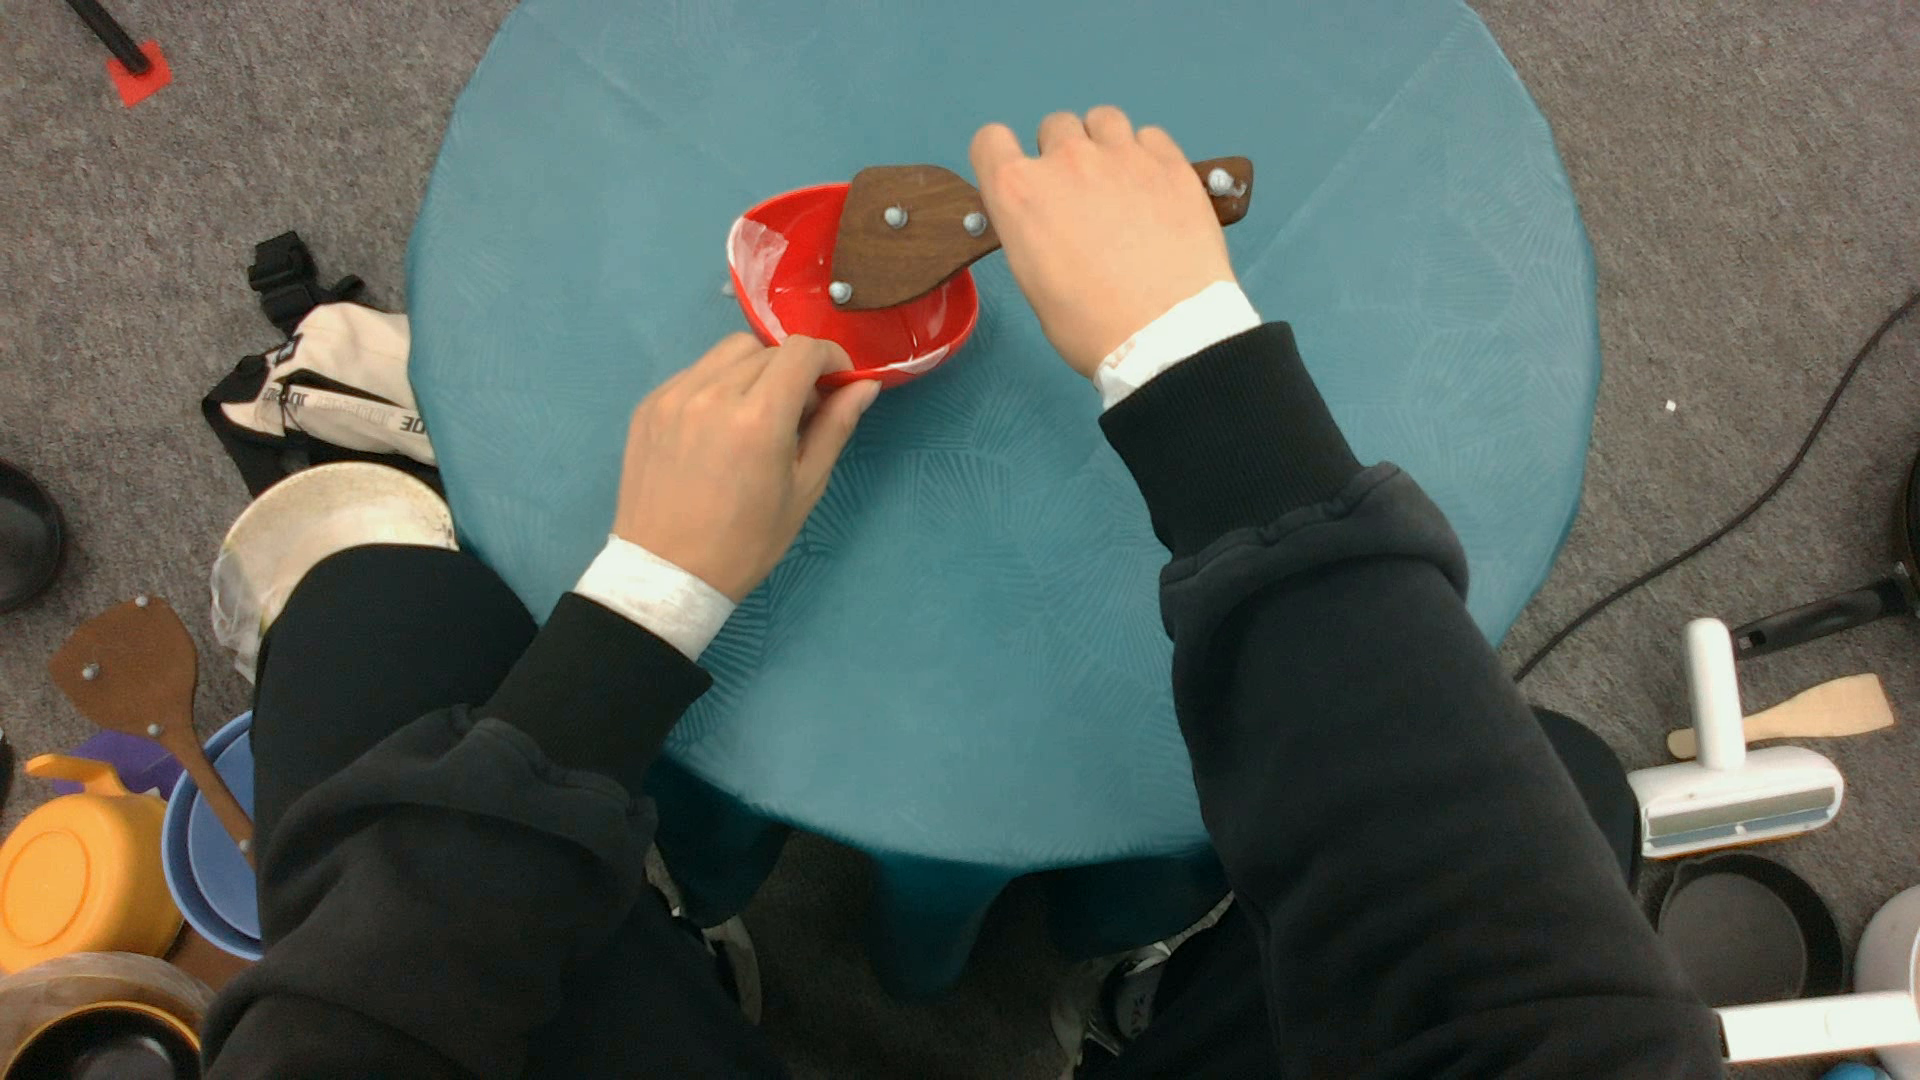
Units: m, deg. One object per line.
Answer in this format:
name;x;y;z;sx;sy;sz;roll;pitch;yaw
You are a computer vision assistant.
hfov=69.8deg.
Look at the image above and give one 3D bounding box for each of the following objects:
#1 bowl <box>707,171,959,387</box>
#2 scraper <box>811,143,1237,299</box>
bowl;-0.063;-0.115;0.650;0.119;0.051;0.119;8;57;-12
scraper;0.020;-0.143;0.586;0.211;0.011;0.076;3;77;37
